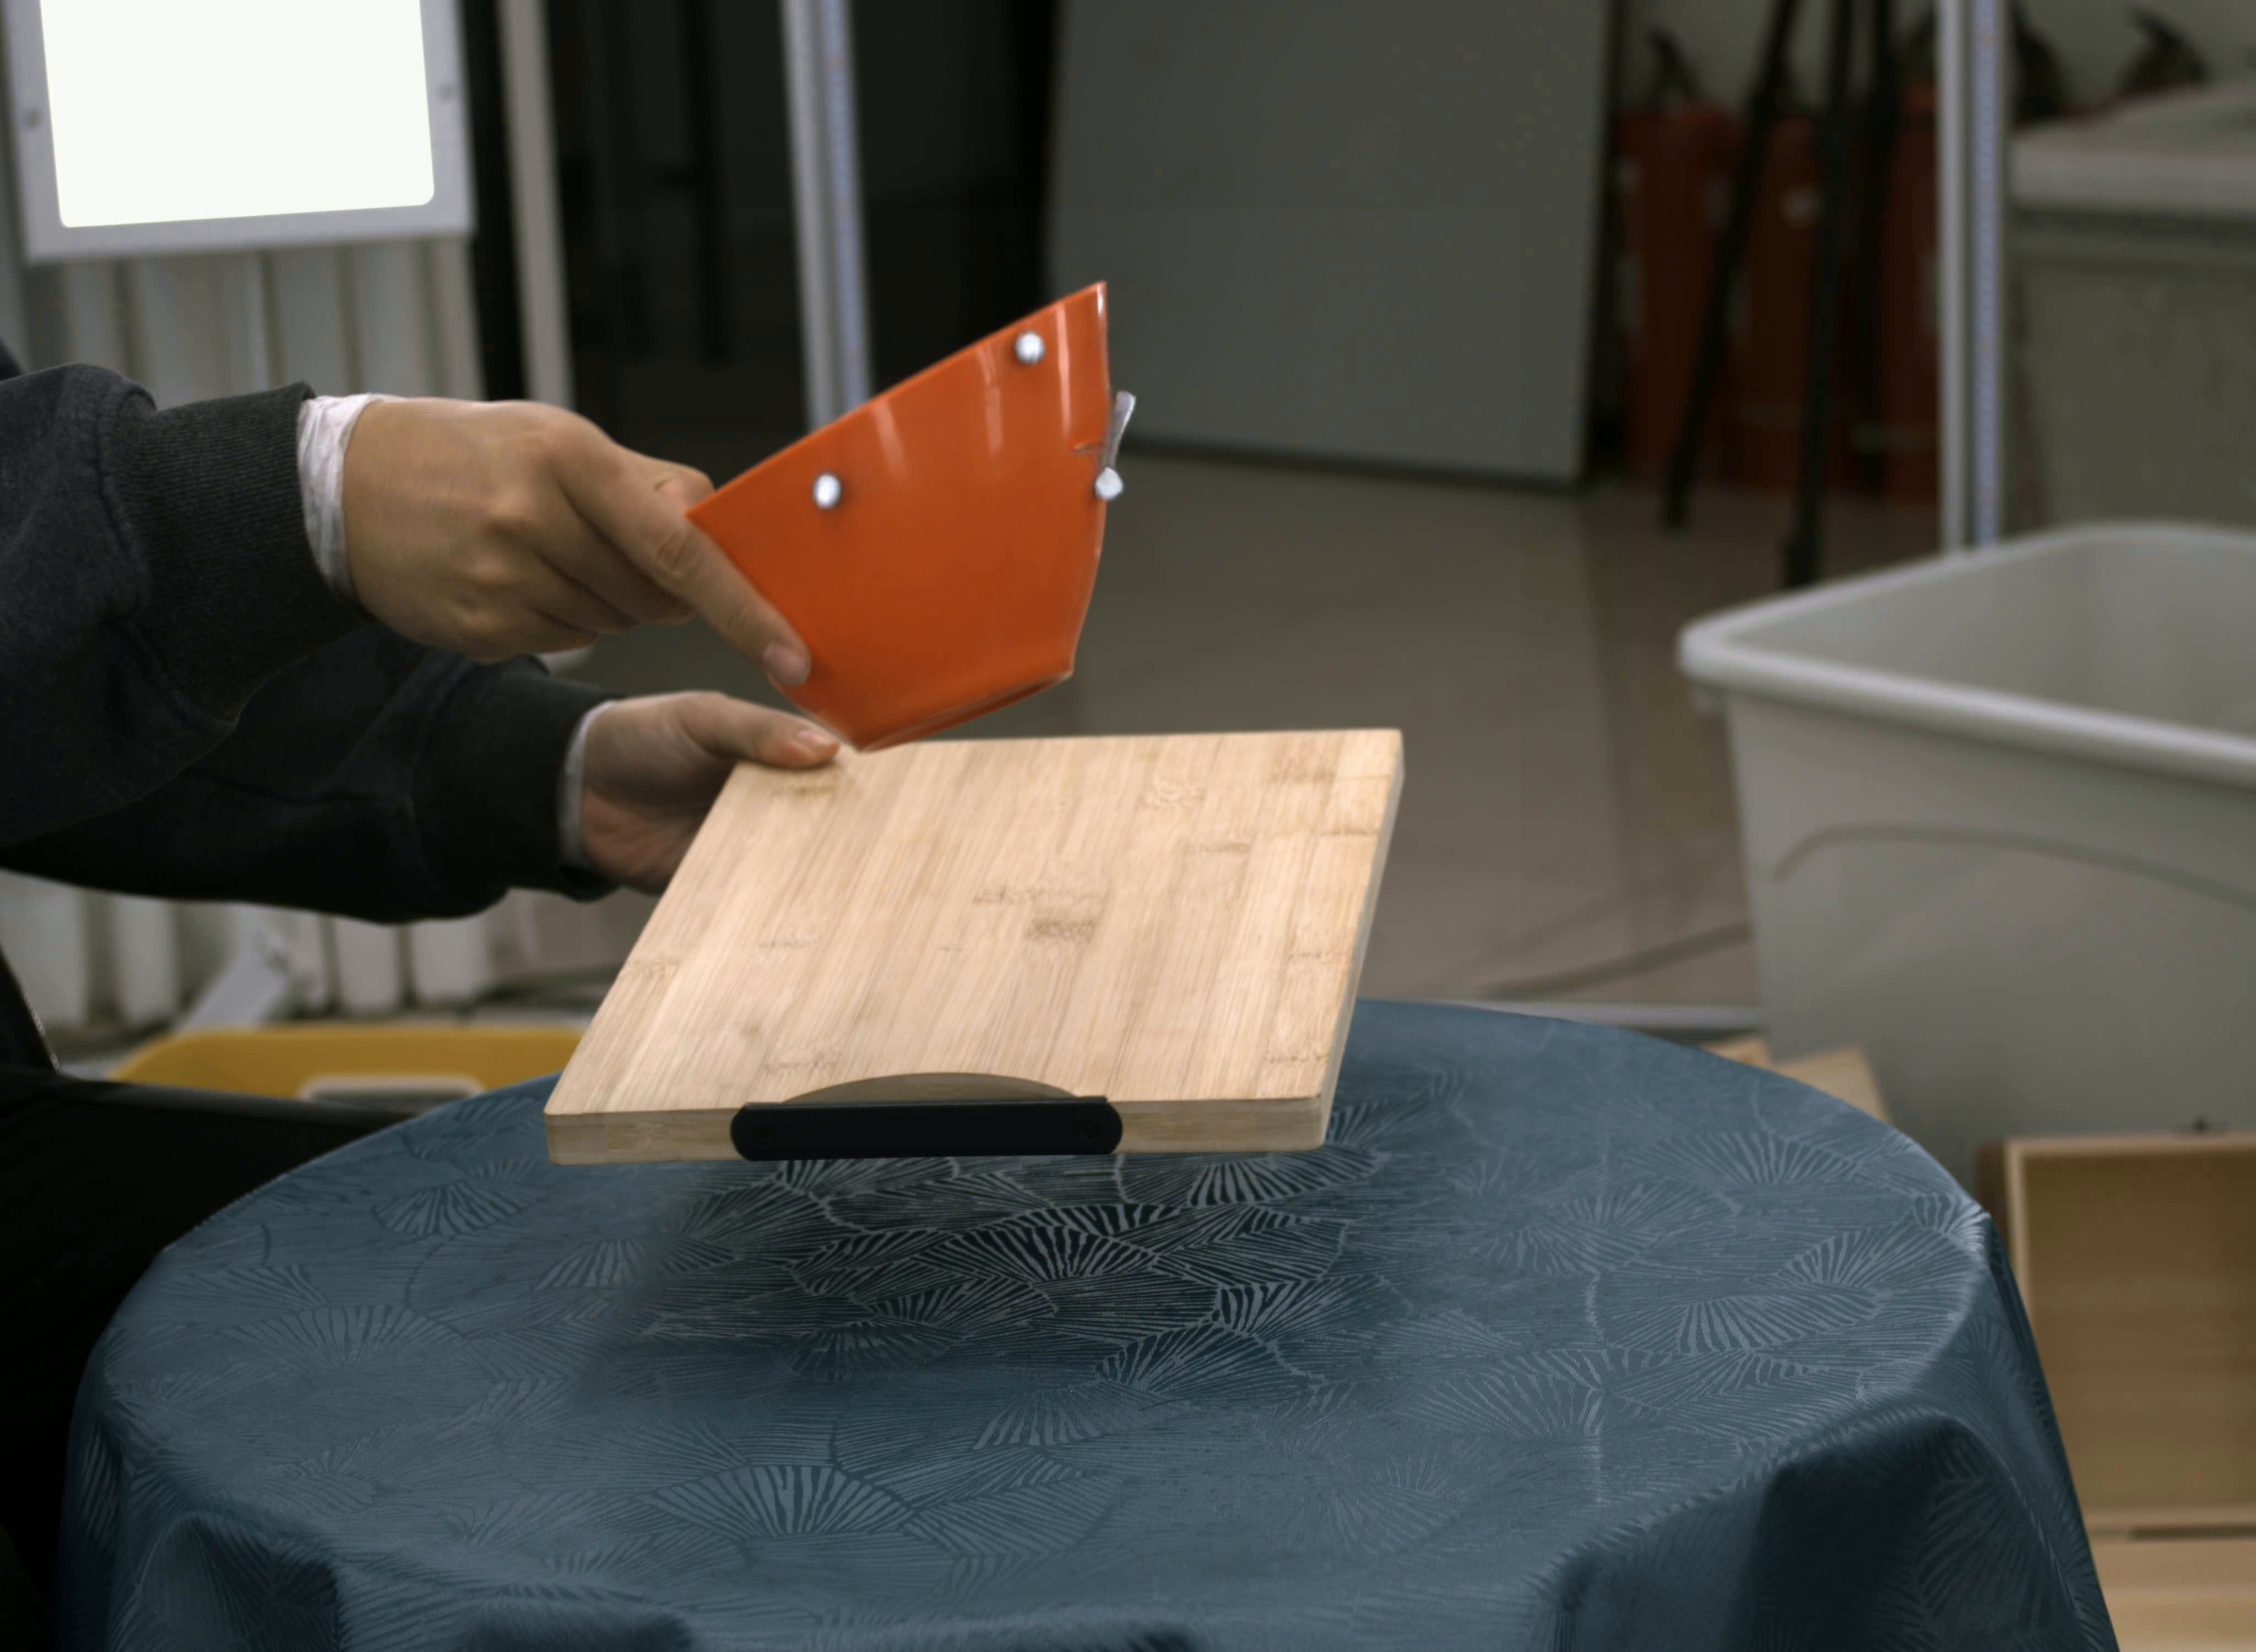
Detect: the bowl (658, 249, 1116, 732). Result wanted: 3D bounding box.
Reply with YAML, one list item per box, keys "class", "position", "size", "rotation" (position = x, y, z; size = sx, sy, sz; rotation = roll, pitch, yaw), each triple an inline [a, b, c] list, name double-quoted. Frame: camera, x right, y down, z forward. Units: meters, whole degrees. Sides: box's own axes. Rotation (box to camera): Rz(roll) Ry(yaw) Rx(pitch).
- class: "bowl"
  position: [-0.054, -0.090, 1.539]
  size: [0.146, 0.106, 0.148]
  rotation: [-20, -4, -2]

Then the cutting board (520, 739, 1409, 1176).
- class: "cutting board"
  position: [-0.041, 0.038, 1.763]
  size: [0.248, 0.024, 0.348]
  rotation: [-3, 19, 8]
